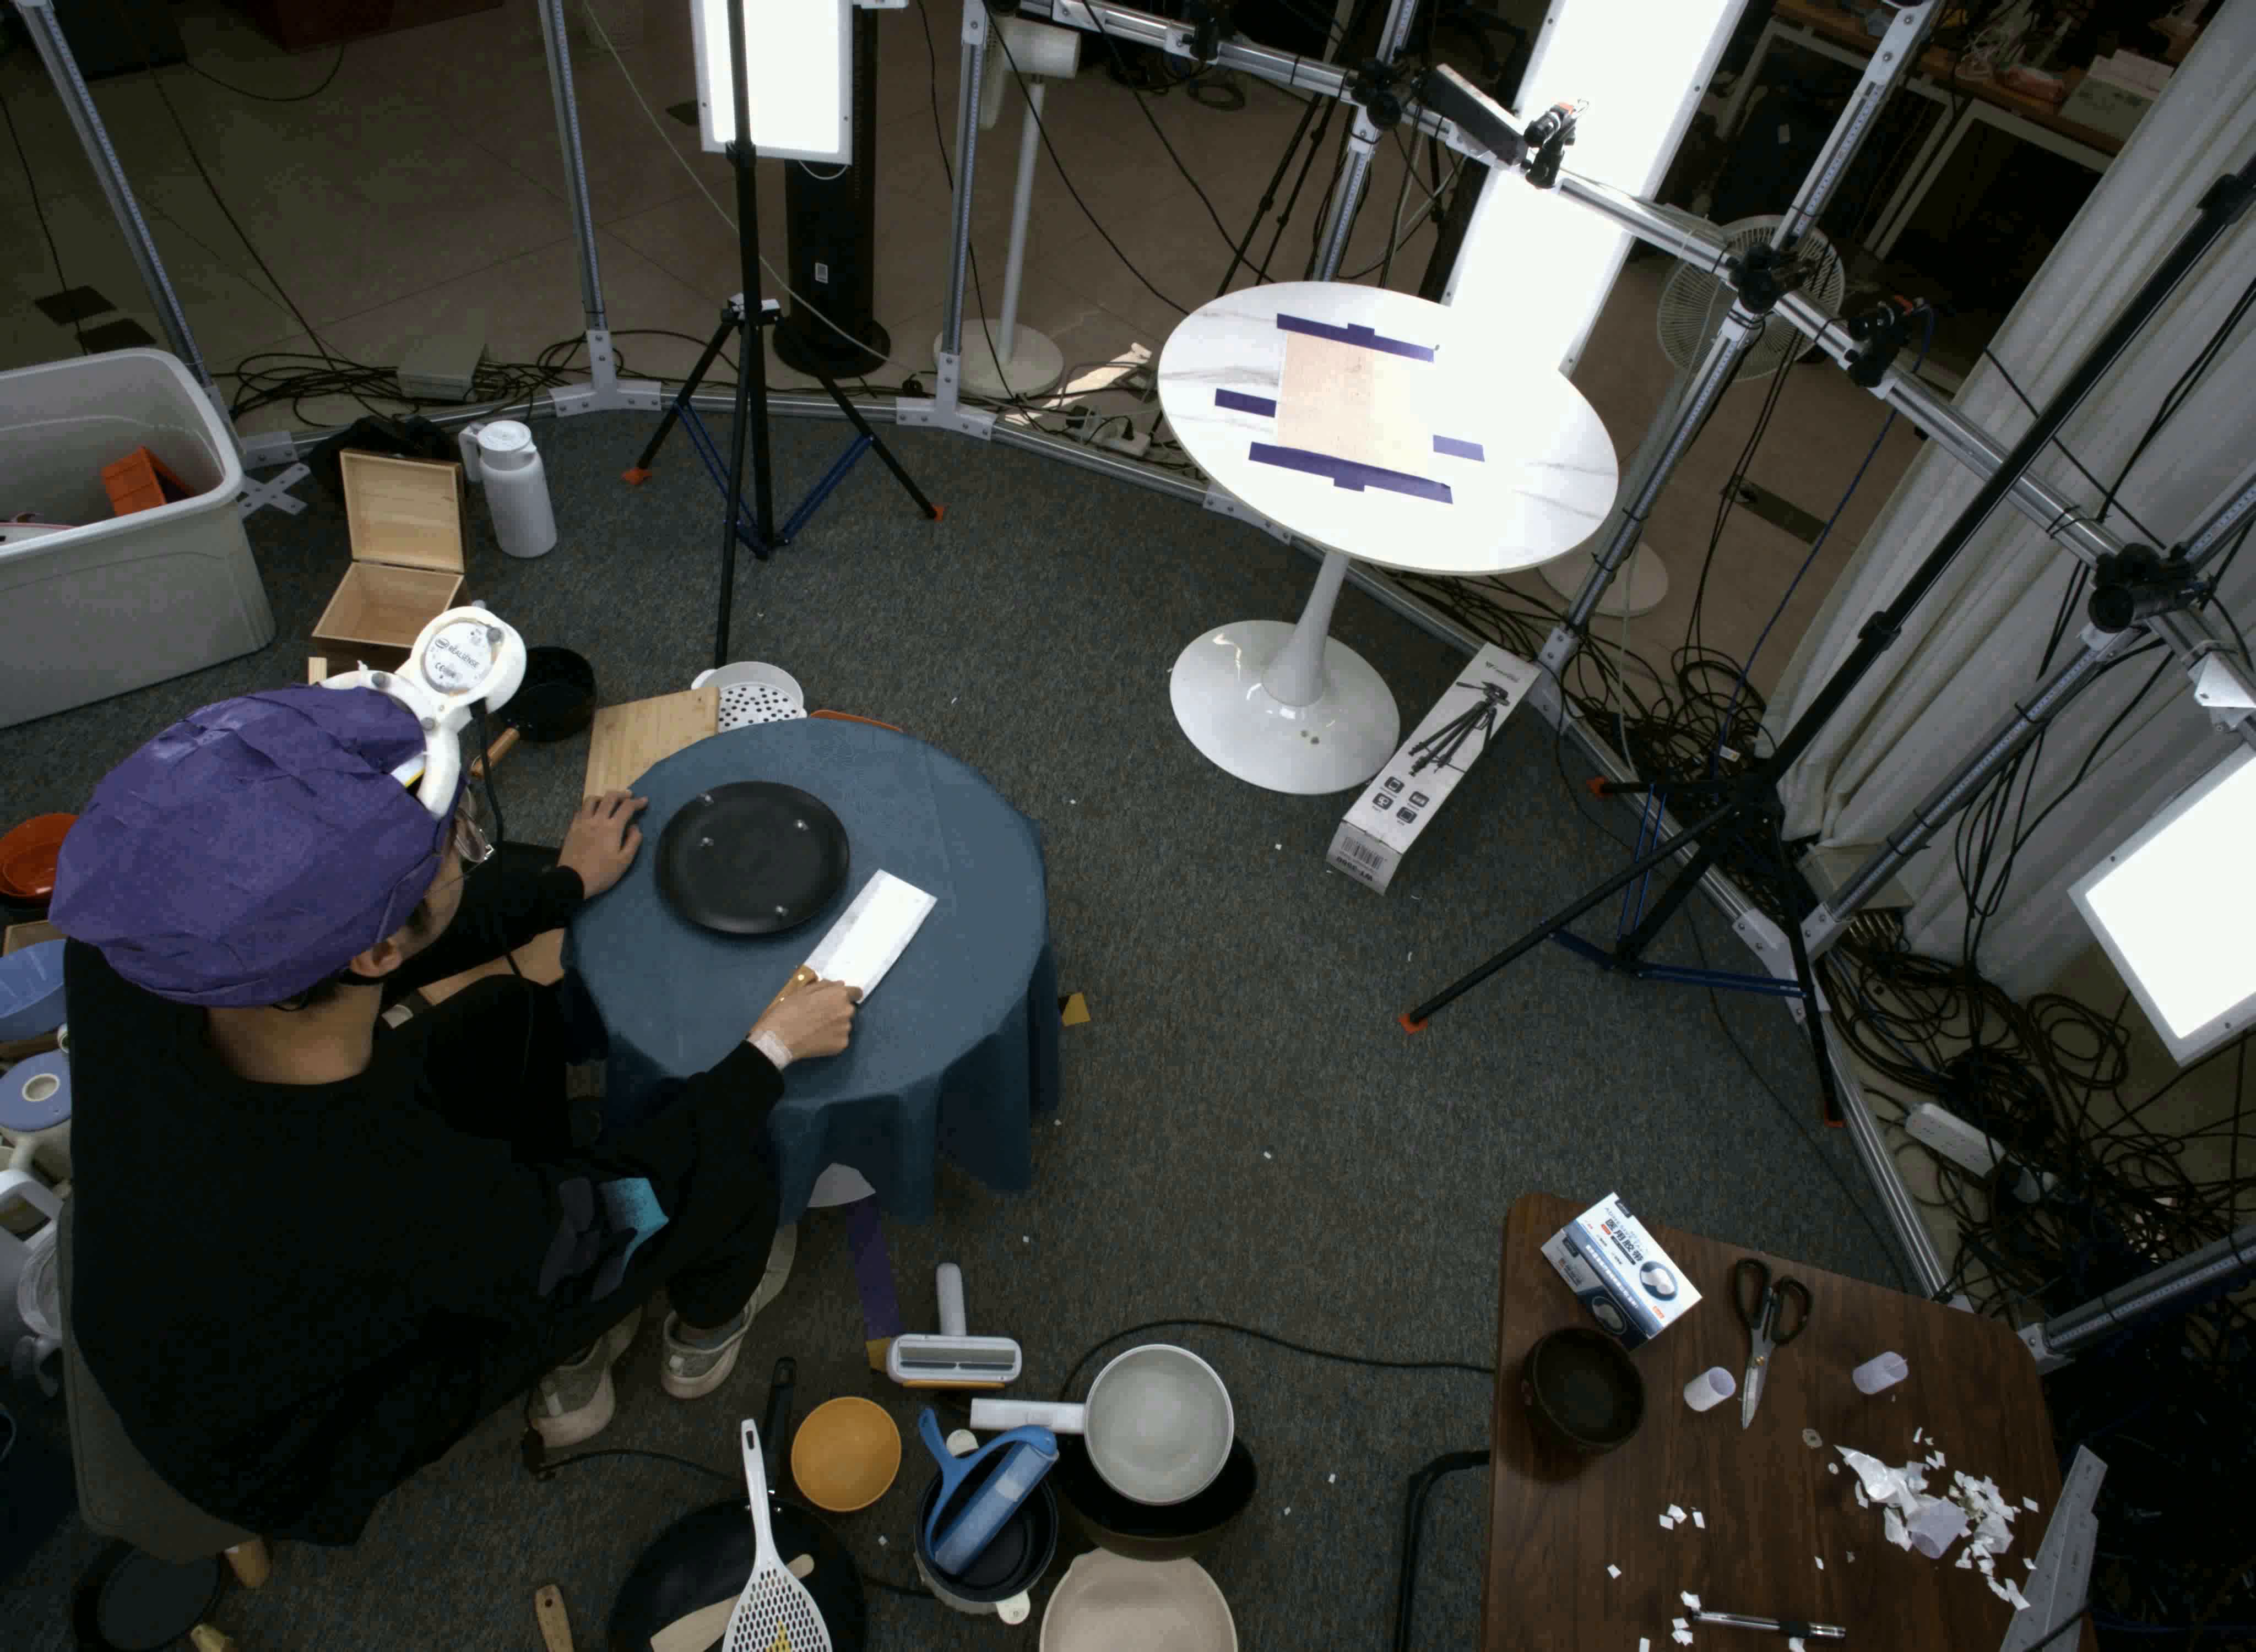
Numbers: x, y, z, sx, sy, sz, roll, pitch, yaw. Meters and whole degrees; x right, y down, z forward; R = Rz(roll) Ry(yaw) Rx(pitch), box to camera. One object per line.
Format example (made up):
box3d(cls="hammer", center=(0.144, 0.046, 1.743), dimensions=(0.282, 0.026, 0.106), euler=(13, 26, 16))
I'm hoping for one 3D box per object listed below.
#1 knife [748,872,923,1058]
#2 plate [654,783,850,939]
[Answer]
box3d(cls="knife", center=(-0.349, 0.171, 1.596), dimensions=(0.092, 0.021, 0.304), euler=(28, 49, 5))
box3d(cls="plate", center=(-0.479, 0.043, 1.651), dimensions=(0.244, 0.024, 0.240), euler=(8, 52, -9))
